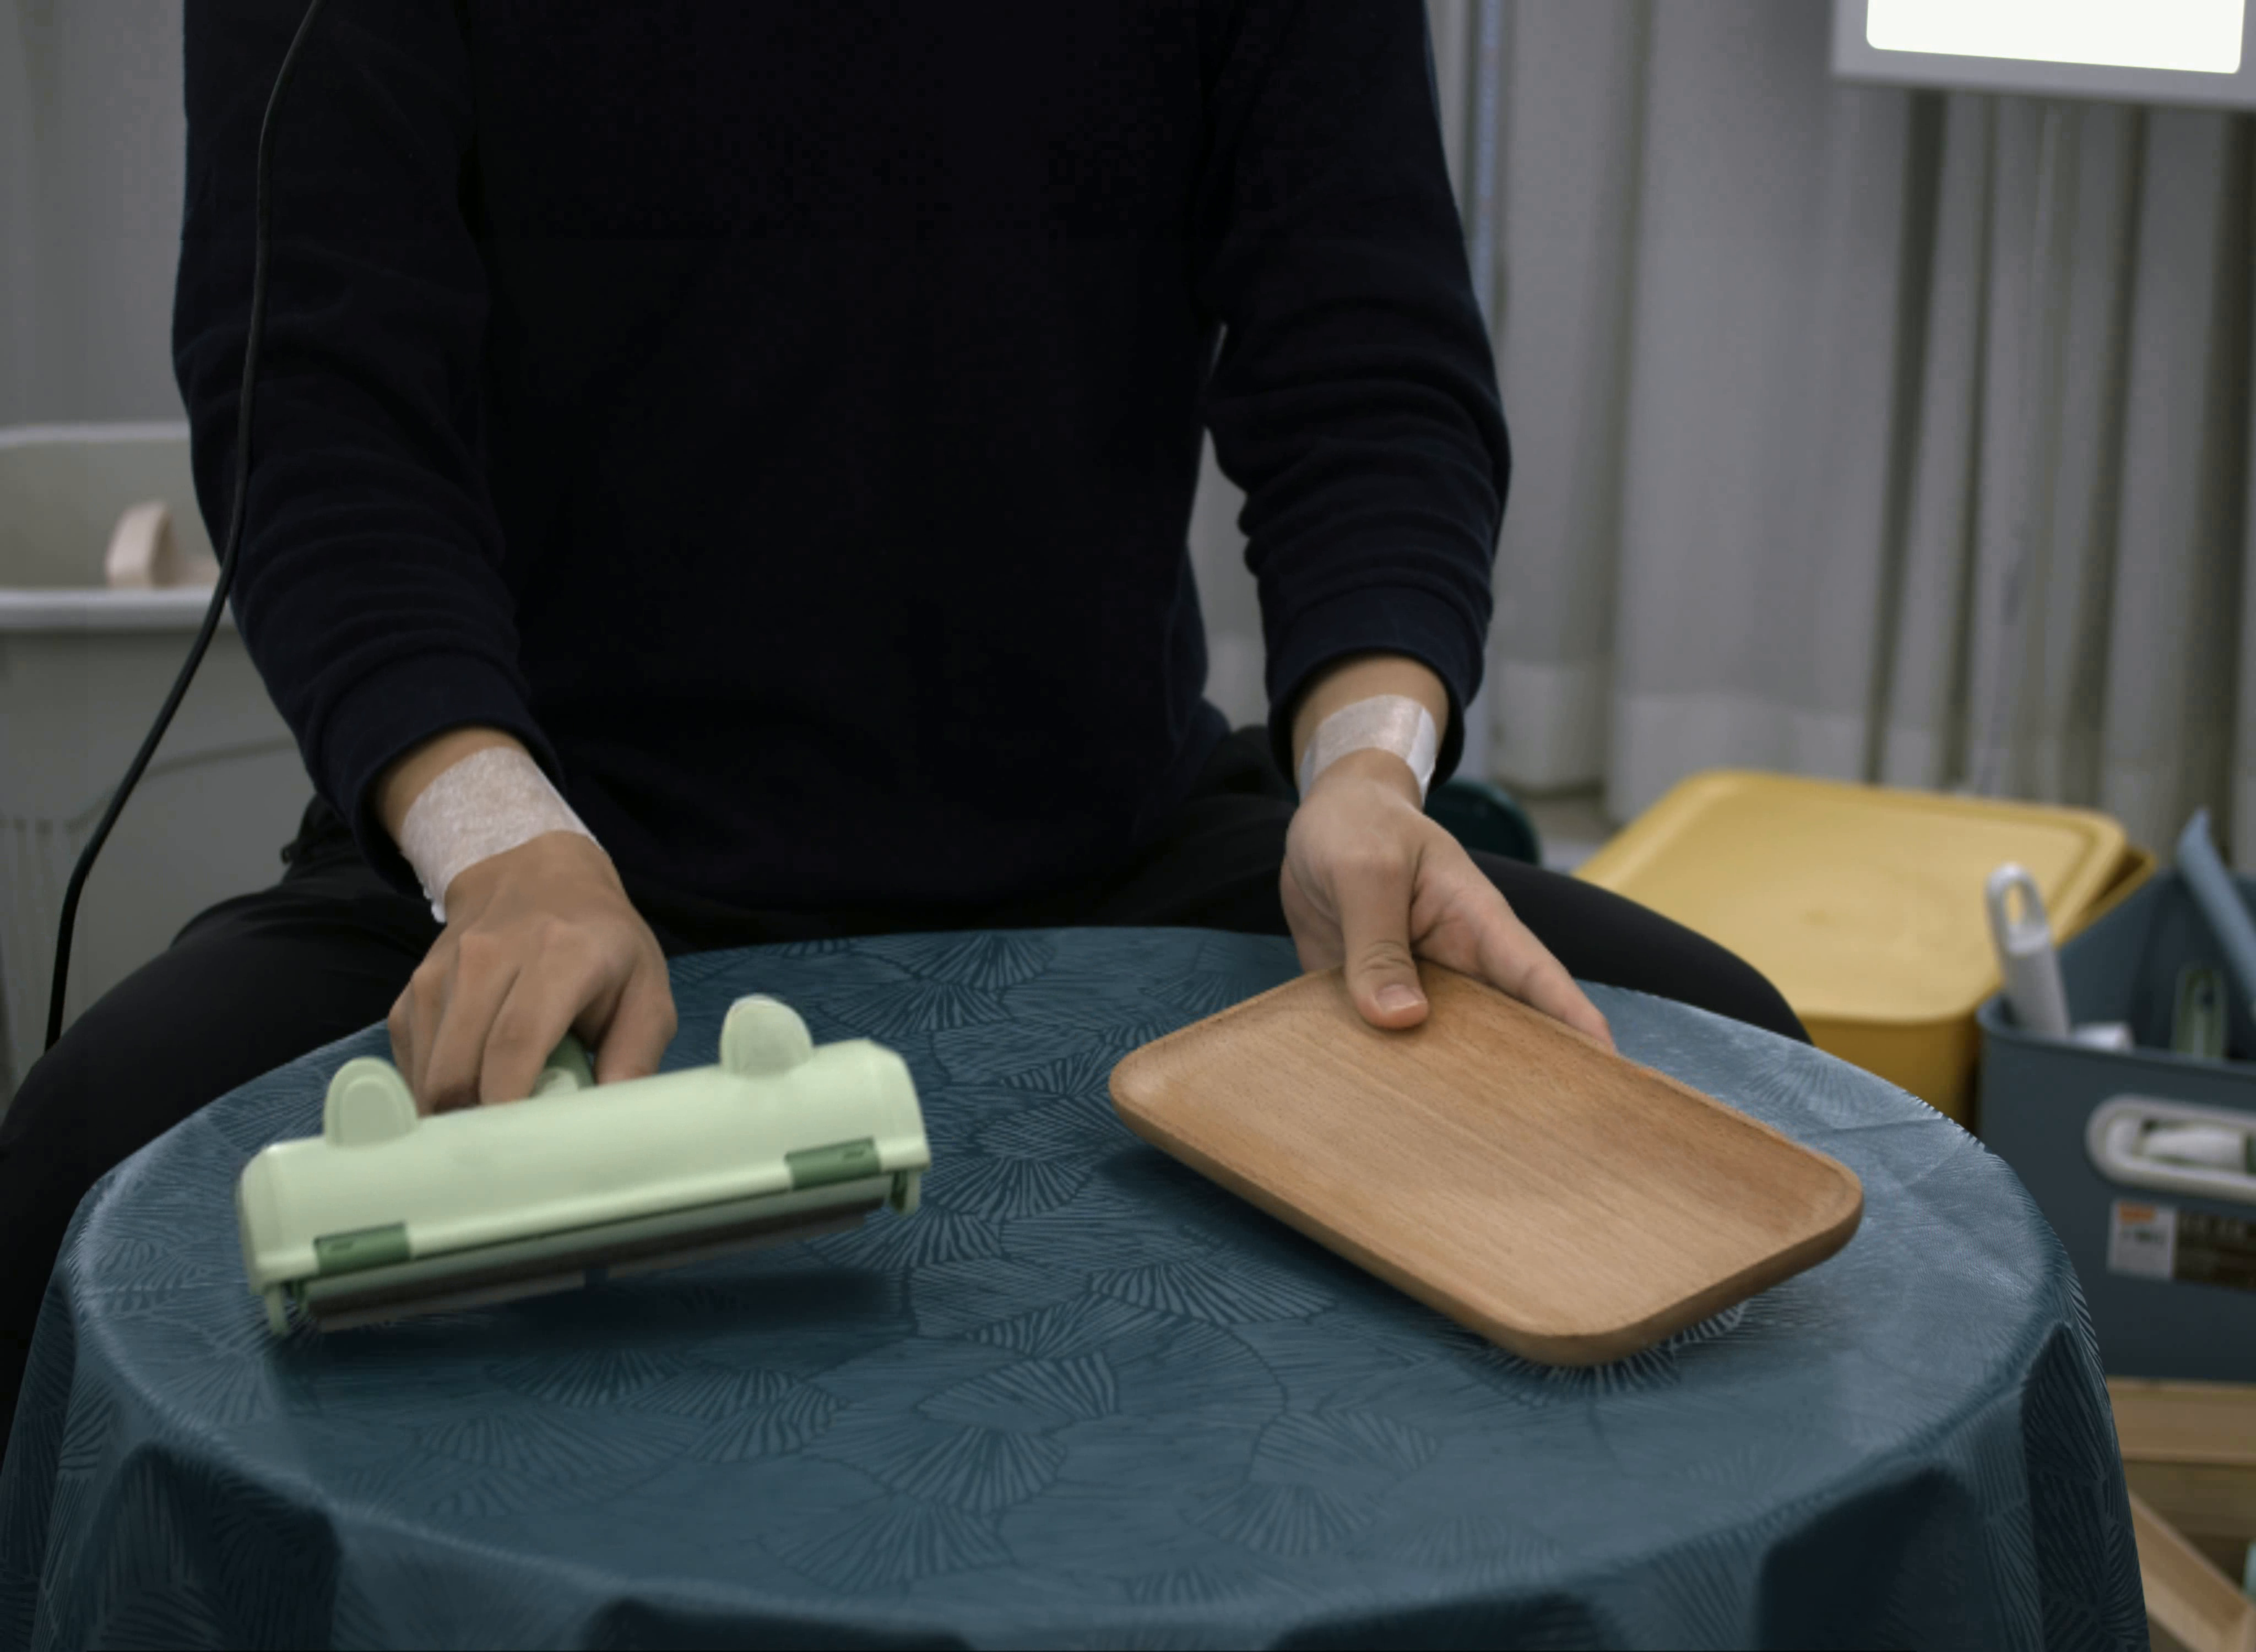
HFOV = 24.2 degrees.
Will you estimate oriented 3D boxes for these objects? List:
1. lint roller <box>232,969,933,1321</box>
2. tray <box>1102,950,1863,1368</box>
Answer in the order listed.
[{"bbox_3d":[-0.172,0.067,1.552,0.199,0.083,0.181,-9,31,-14],"label":"lint roller"},{"bbox_3d":[0.103,0.097,1.586,0.131,0.023,0.247,-20,26,-28],"label":"tray"}]
